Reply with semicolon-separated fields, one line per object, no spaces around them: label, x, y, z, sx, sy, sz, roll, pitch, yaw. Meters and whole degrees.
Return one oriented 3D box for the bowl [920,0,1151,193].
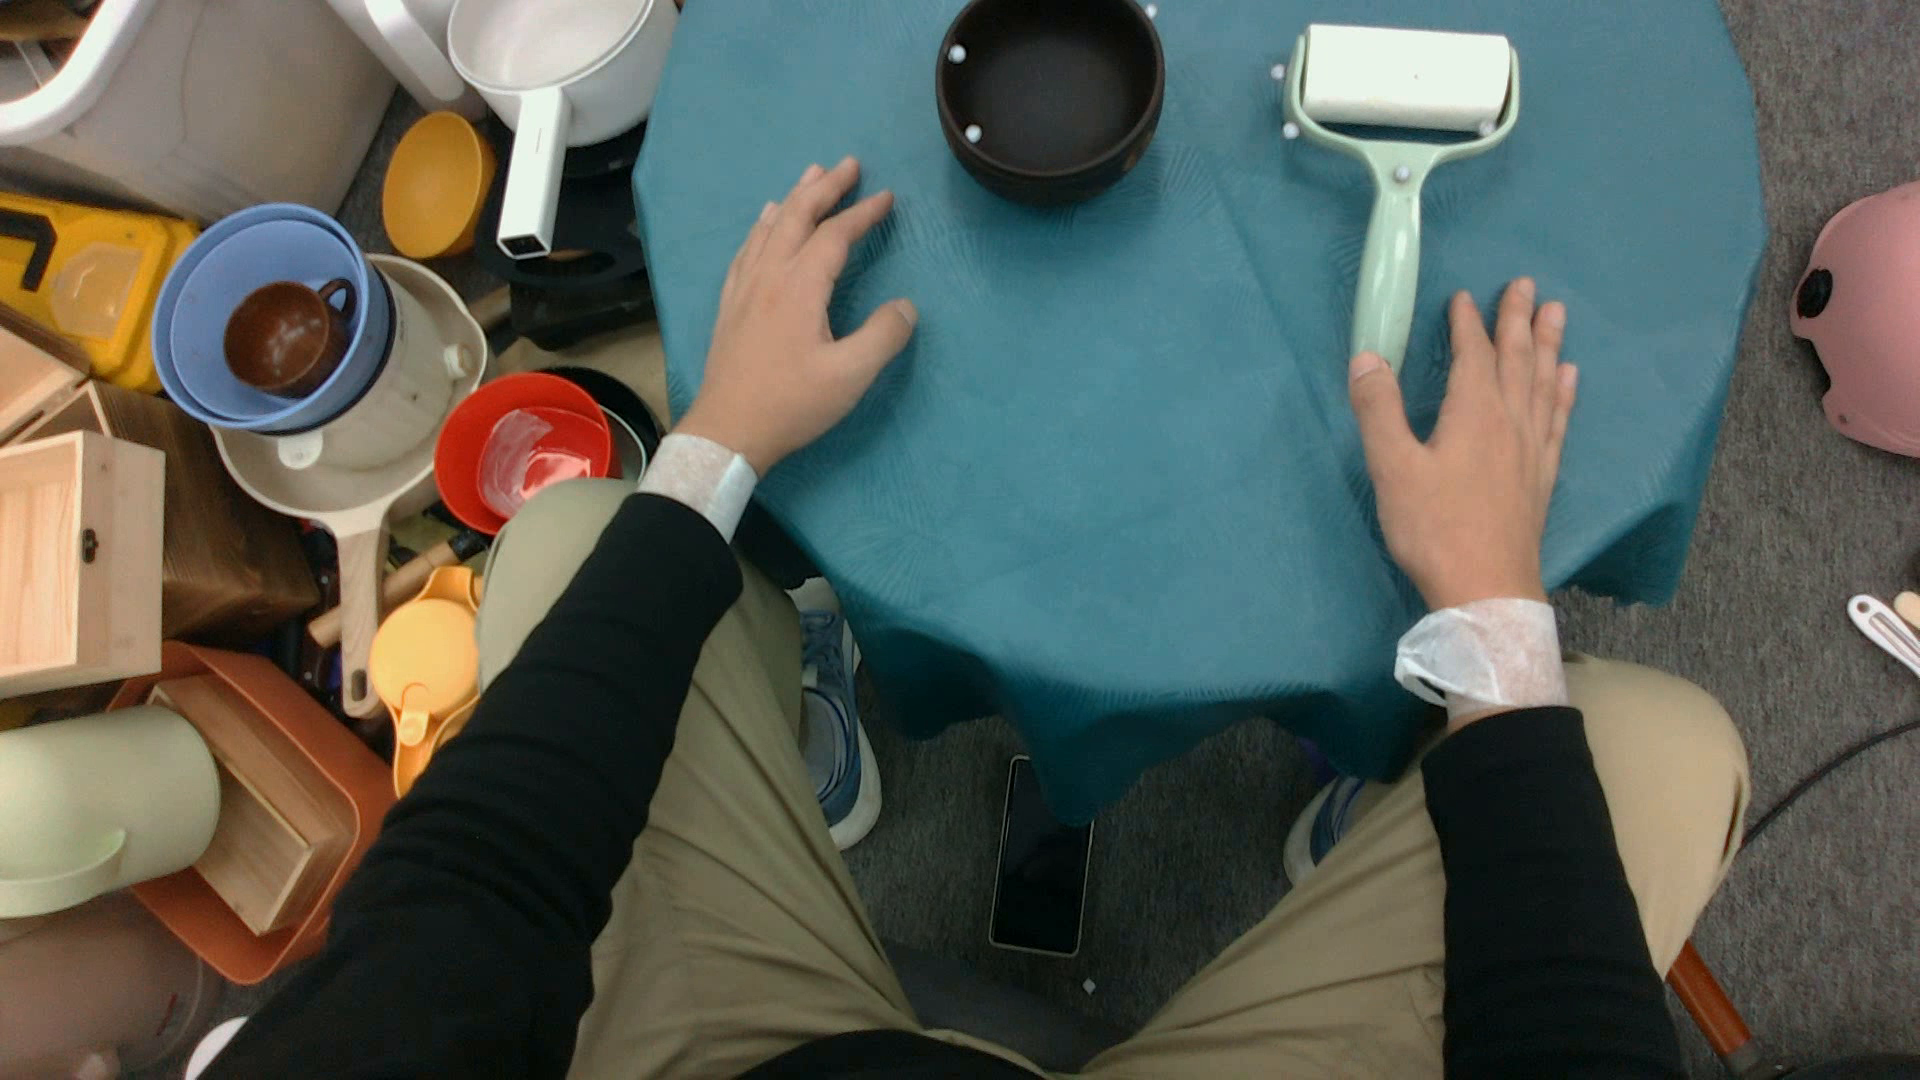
bowl;0.039;-0.236;0.722;0.118;0.070;0.118;0;80;2

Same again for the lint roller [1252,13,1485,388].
lint roller;0.207;-0.179;0.714;0.116;0.048;0.198;5;81;3
